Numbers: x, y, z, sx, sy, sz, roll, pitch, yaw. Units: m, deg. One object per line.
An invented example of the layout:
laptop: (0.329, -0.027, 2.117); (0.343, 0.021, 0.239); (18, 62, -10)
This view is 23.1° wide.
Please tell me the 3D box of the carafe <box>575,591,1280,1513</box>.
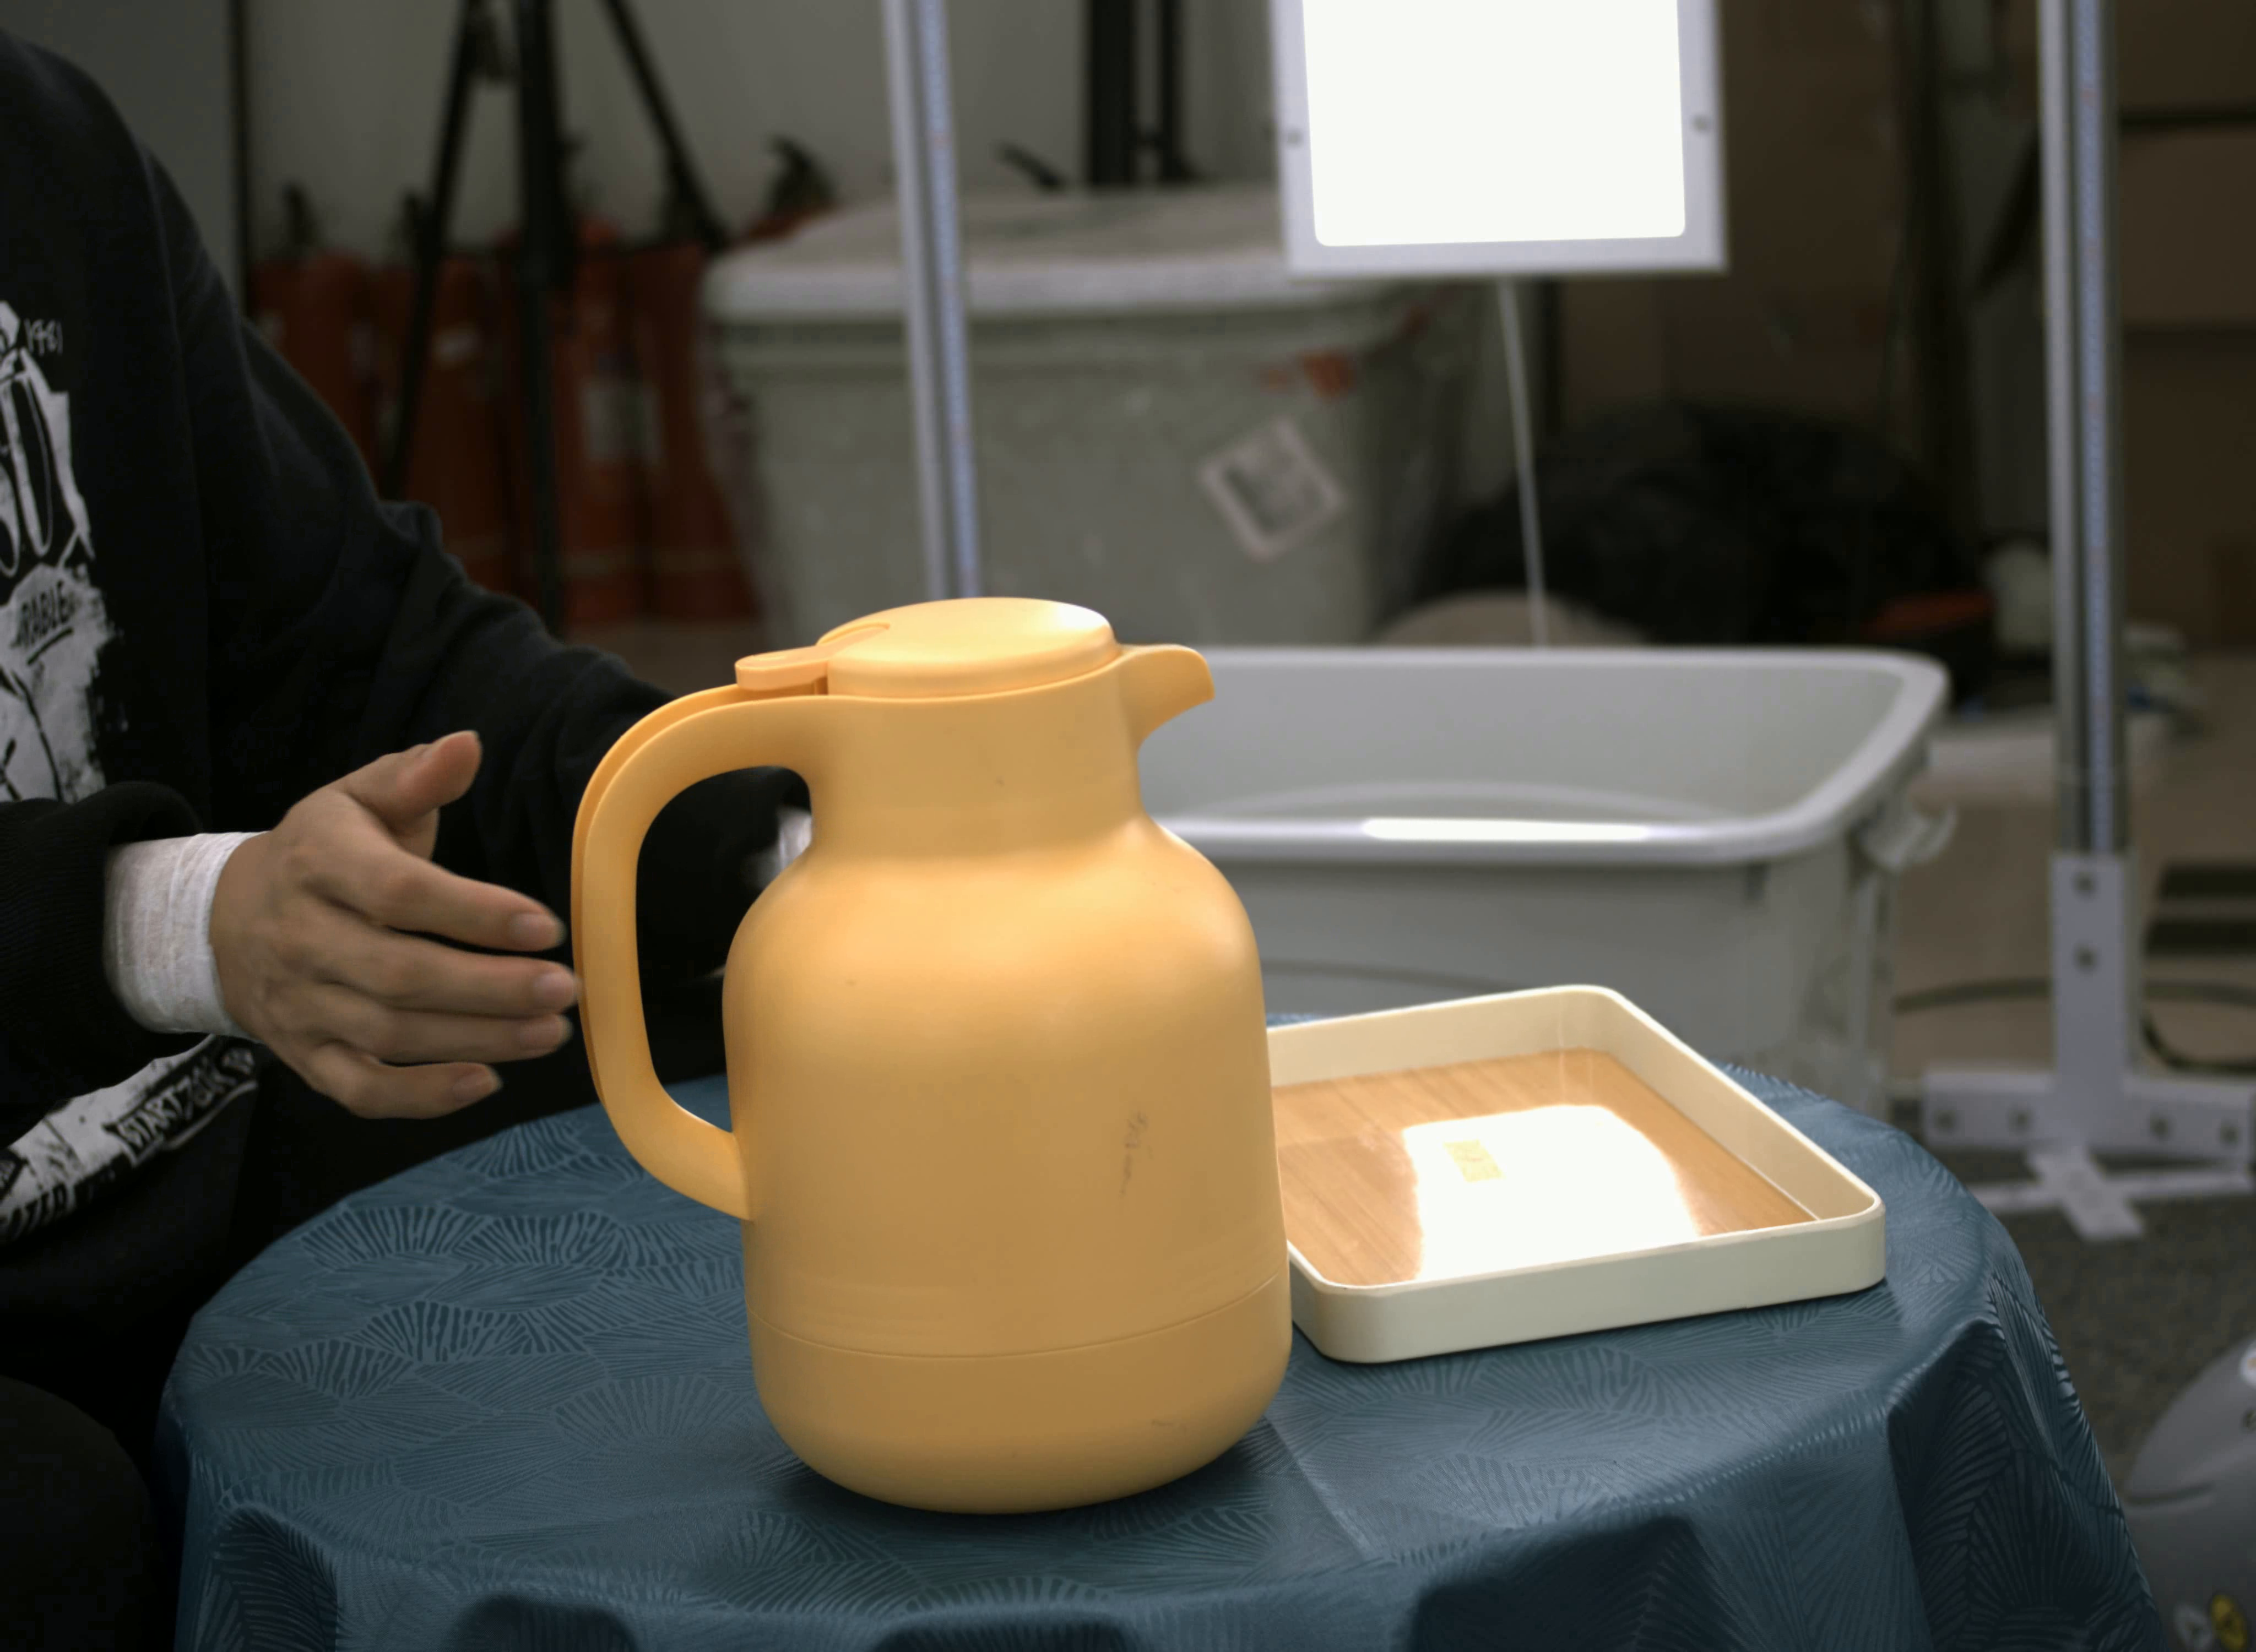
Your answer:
carafe: (-0.059, 0.064, 1.626); (0.200, 0.261, 0.164); (-5, 11, -8)

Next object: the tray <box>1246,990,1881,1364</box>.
tray: (0.118, 0.113, 1.853); (0.189, 0.027, 0.302); (-8, 14, -11)
